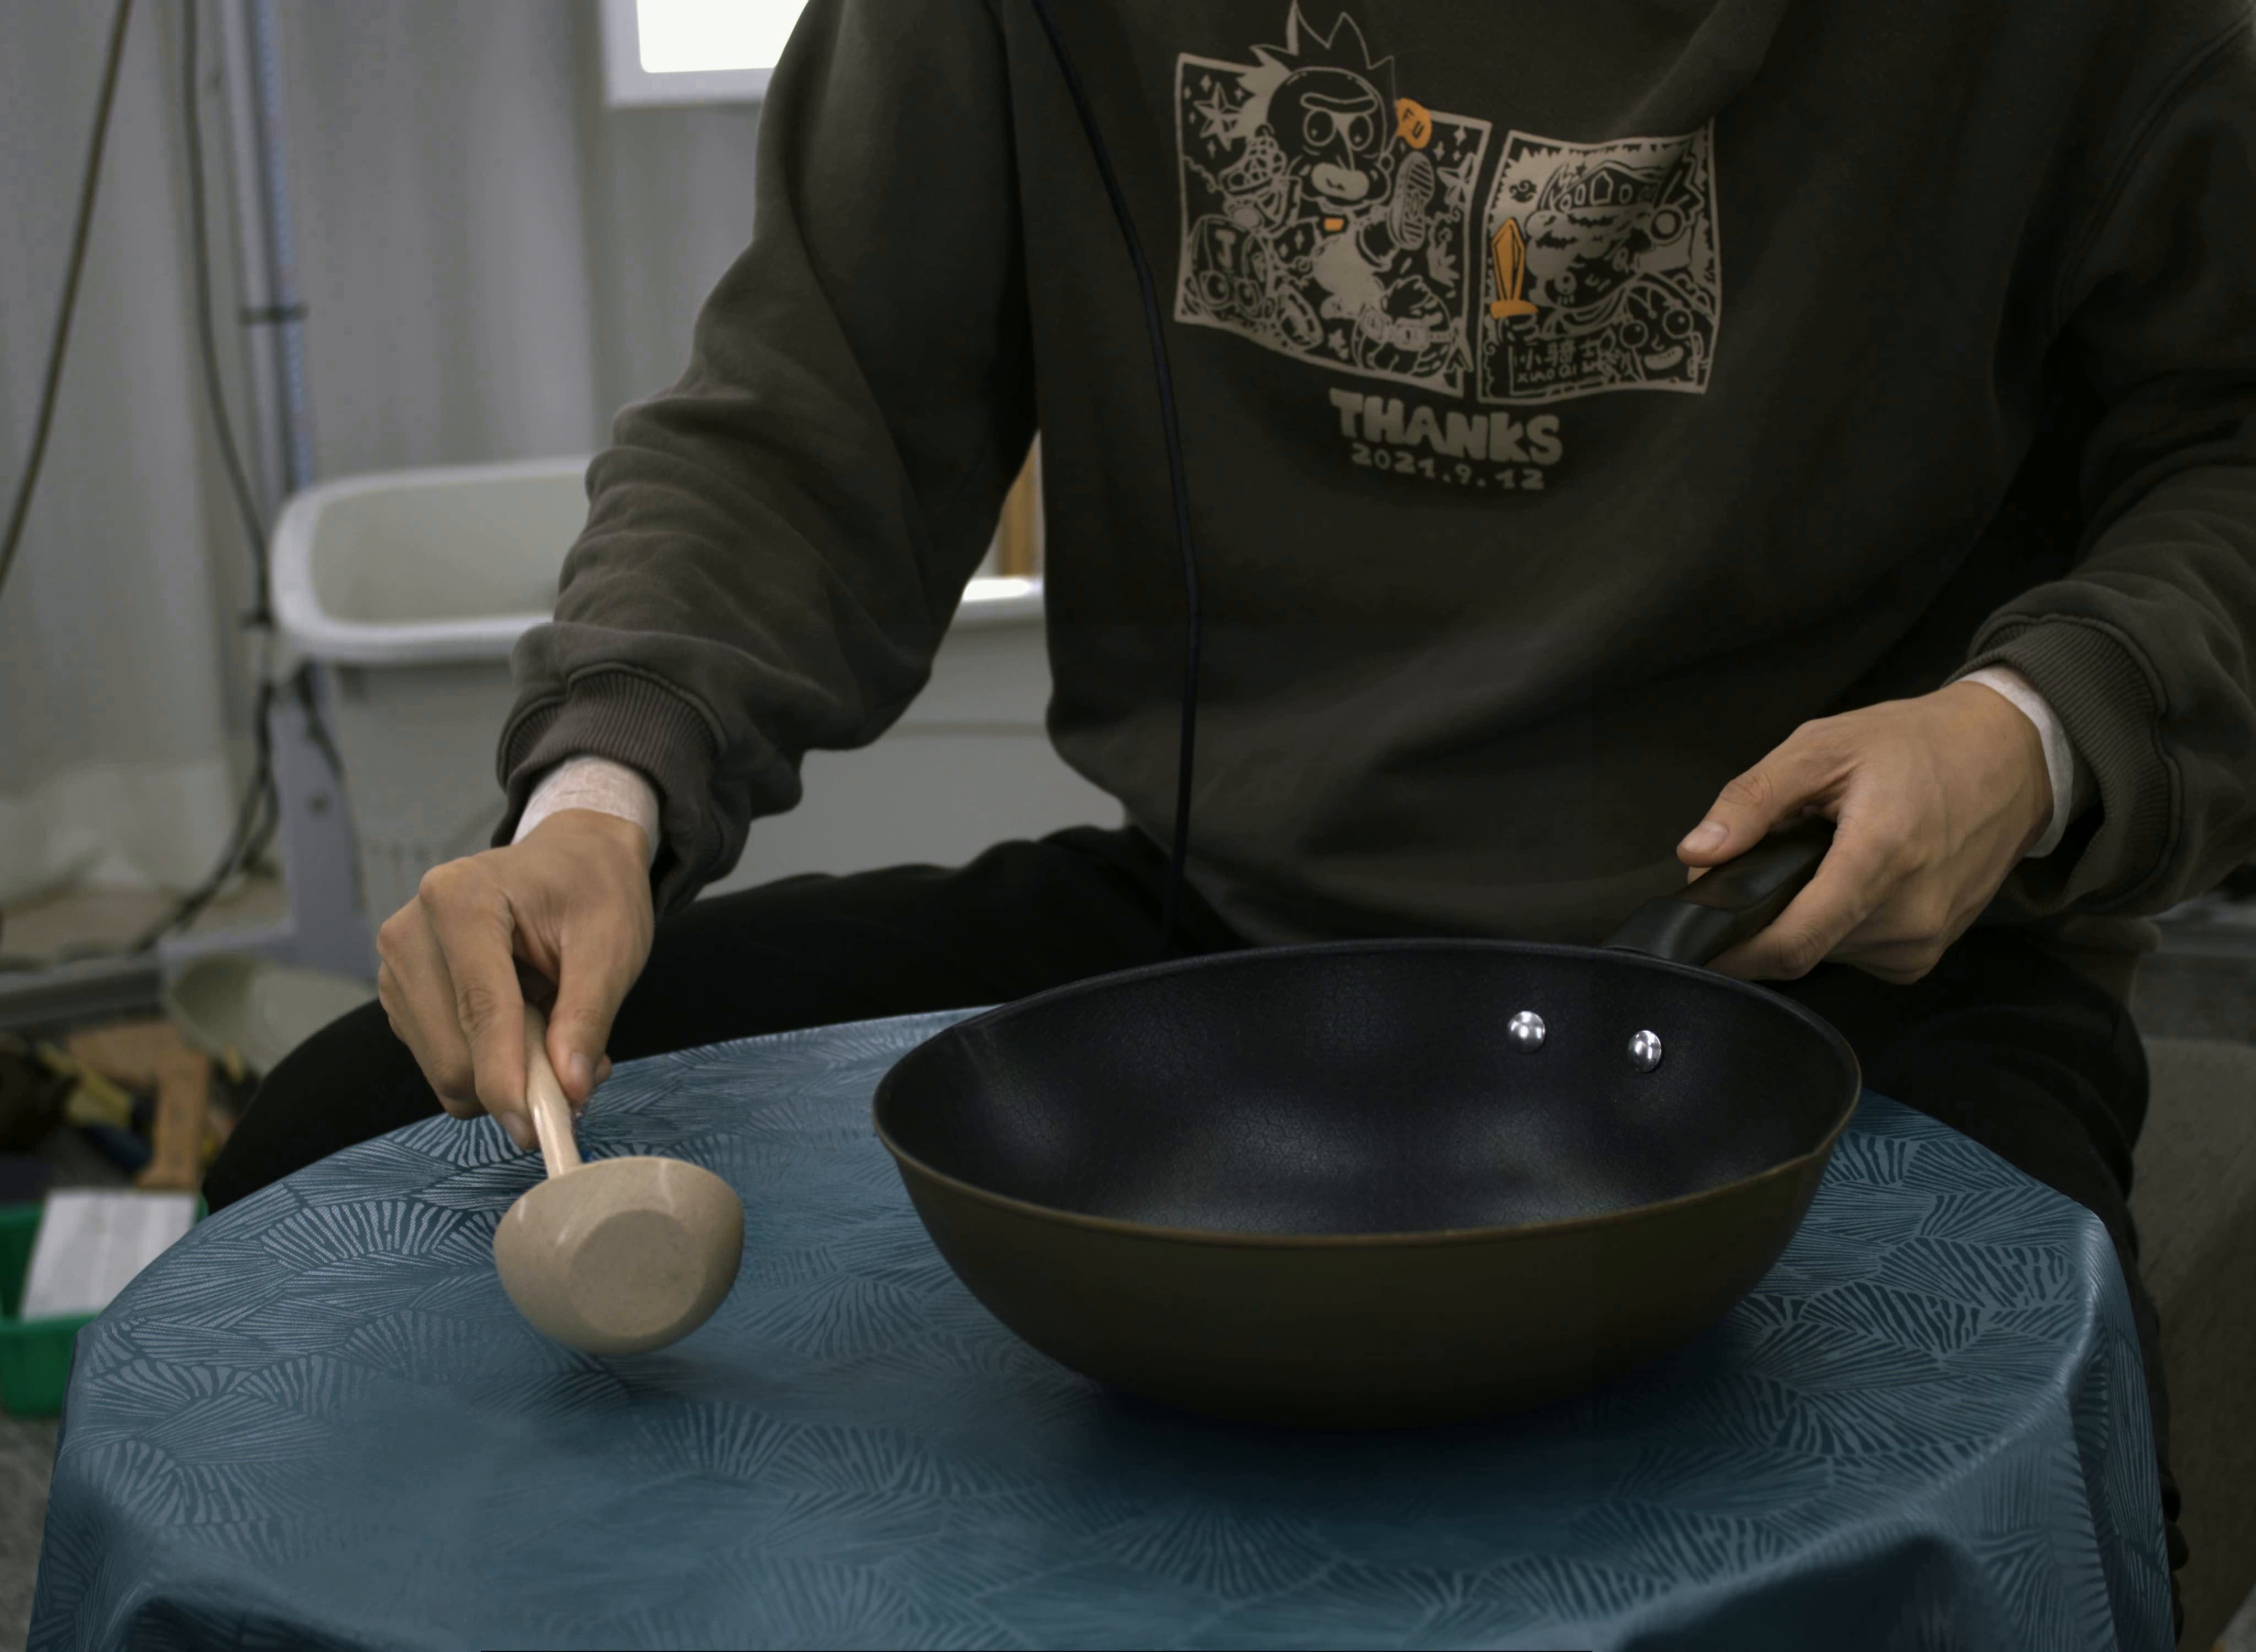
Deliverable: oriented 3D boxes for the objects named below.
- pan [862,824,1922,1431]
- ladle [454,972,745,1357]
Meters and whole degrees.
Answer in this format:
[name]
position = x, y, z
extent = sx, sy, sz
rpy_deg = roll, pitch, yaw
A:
[pan]
position = 0.117, 0.087, 1.642
extent = 0.289, 0.086, 0.463
rpy_deg = 7, 17, 34
[ladle]
position = -0.173, 0.074, 1.653
extent = 0.072, 0.072, 0.258
rpy_deg = -3, 27, -17
